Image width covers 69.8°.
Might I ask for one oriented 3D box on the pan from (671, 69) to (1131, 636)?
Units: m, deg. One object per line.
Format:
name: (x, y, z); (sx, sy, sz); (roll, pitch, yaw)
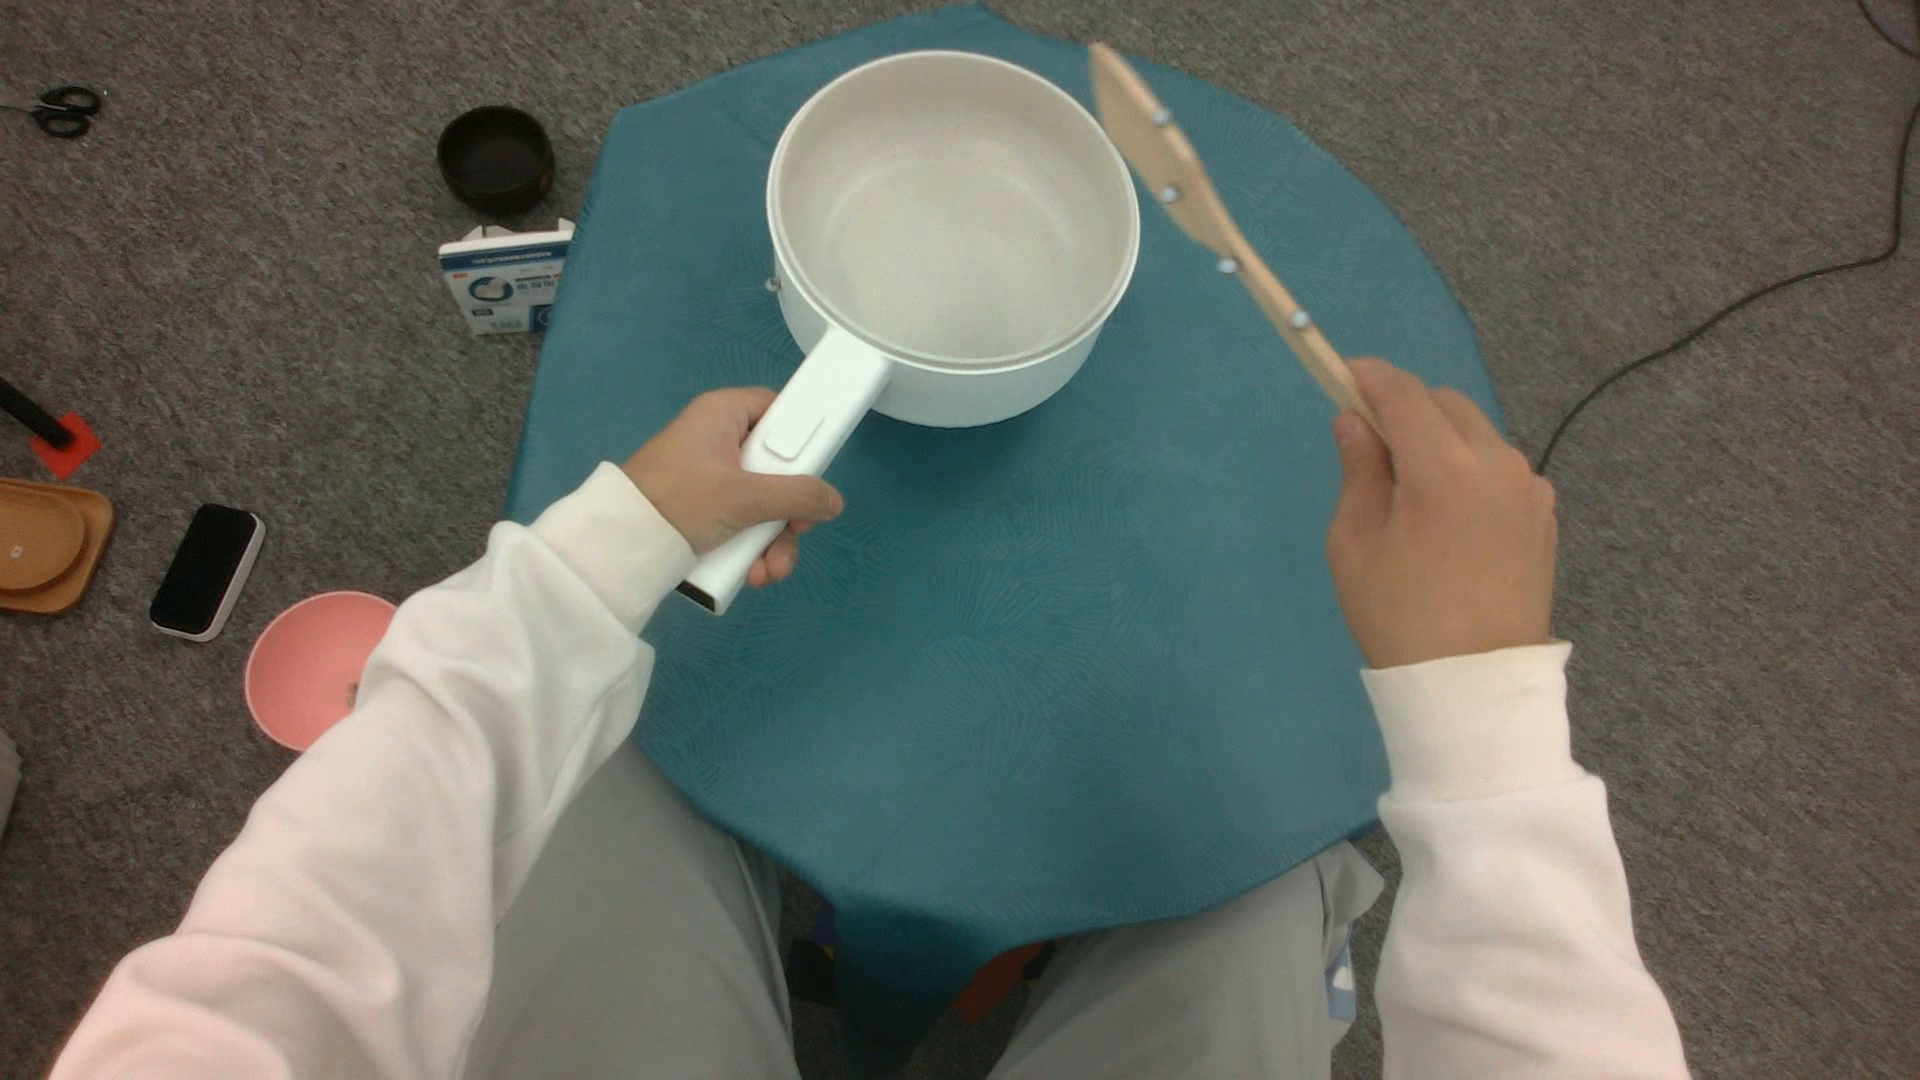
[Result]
pan: (-0.046, -0.097, 0.770); (0.201, 0.102, 0.356); (29, 70, 1)

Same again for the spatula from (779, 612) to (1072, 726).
spatula: (-0.037, 0.119, 1.358); (0.293, 0.010, 0.072); (14, 68, 2)
